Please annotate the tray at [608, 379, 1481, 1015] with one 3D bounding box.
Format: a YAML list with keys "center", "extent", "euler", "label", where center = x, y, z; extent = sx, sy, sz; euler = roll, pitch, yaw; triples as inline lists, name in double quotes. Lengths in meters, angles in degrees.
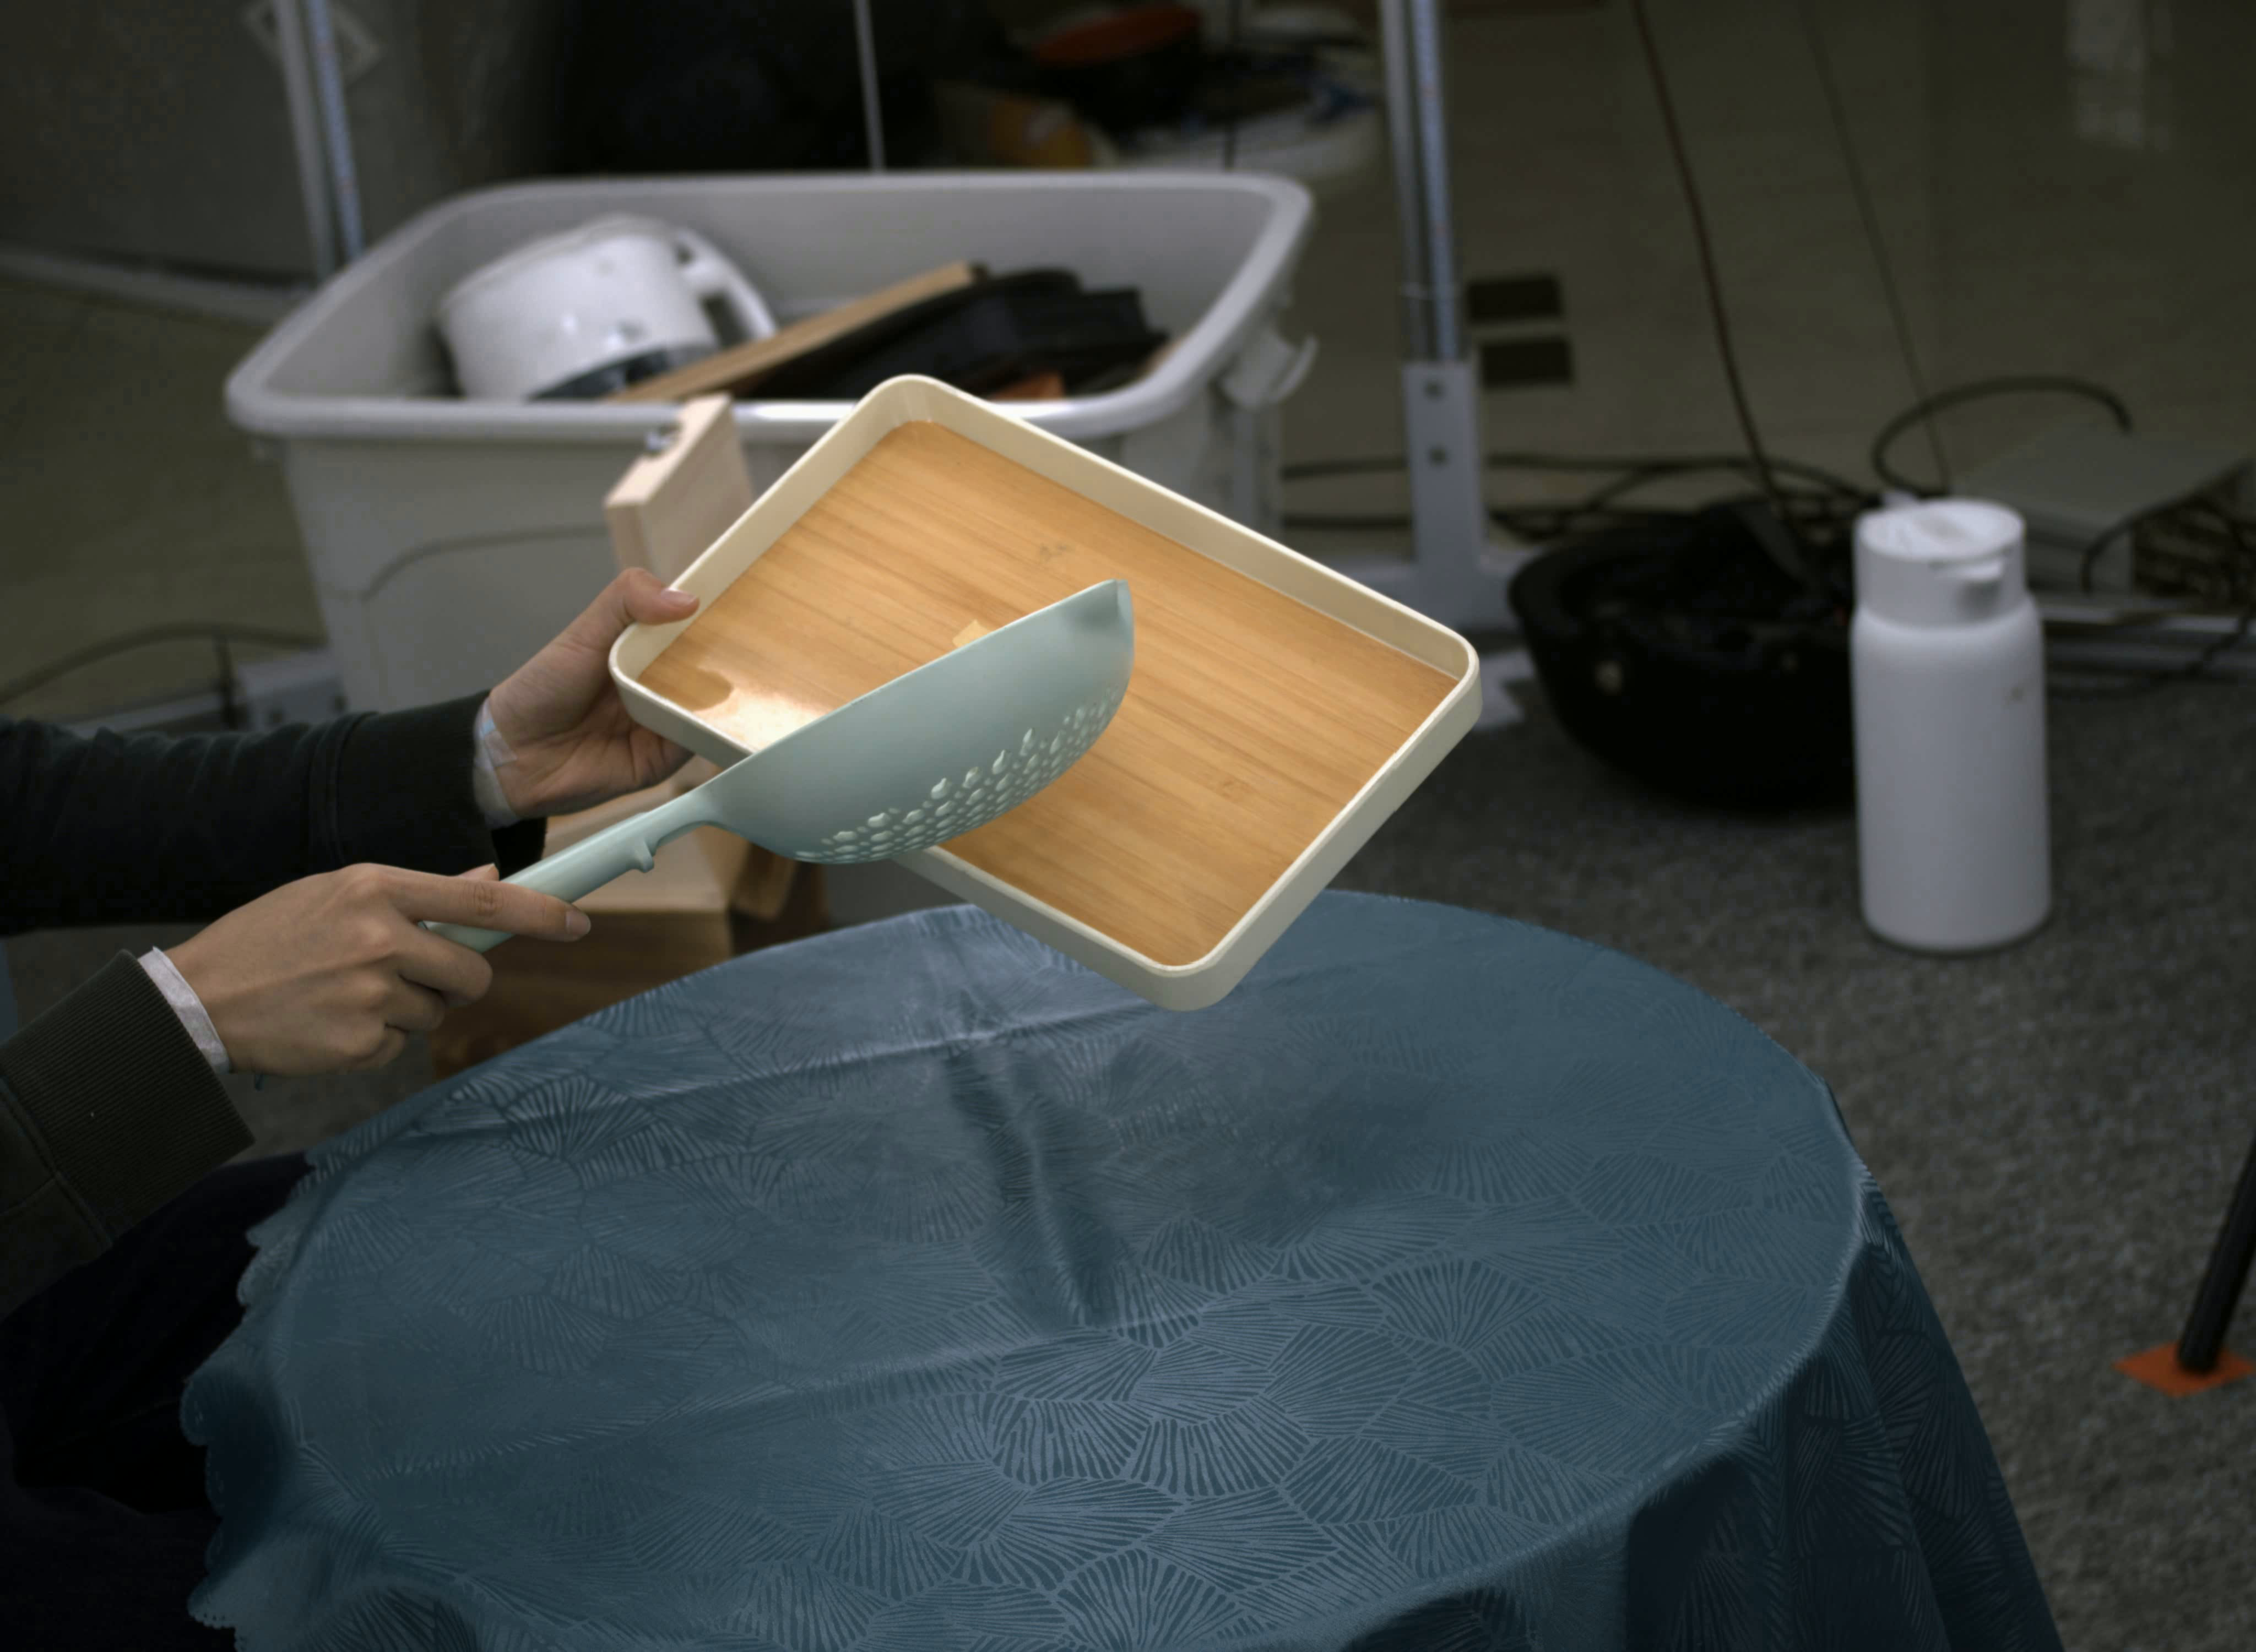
- center: [-0.034, -0.054, 2.157]
  extent: [0.297, 0.028, 0.189]
  euler: [28, 61, 29]
  label: "tray"

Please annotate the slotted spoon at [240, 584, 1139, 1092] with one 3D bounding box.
- center: [-0.156, 0.003, 2.027]
  extent: [0.358, 0.075, 0.170]
  euler: [-18, -2, -10]
  label: "slotted spoon"
